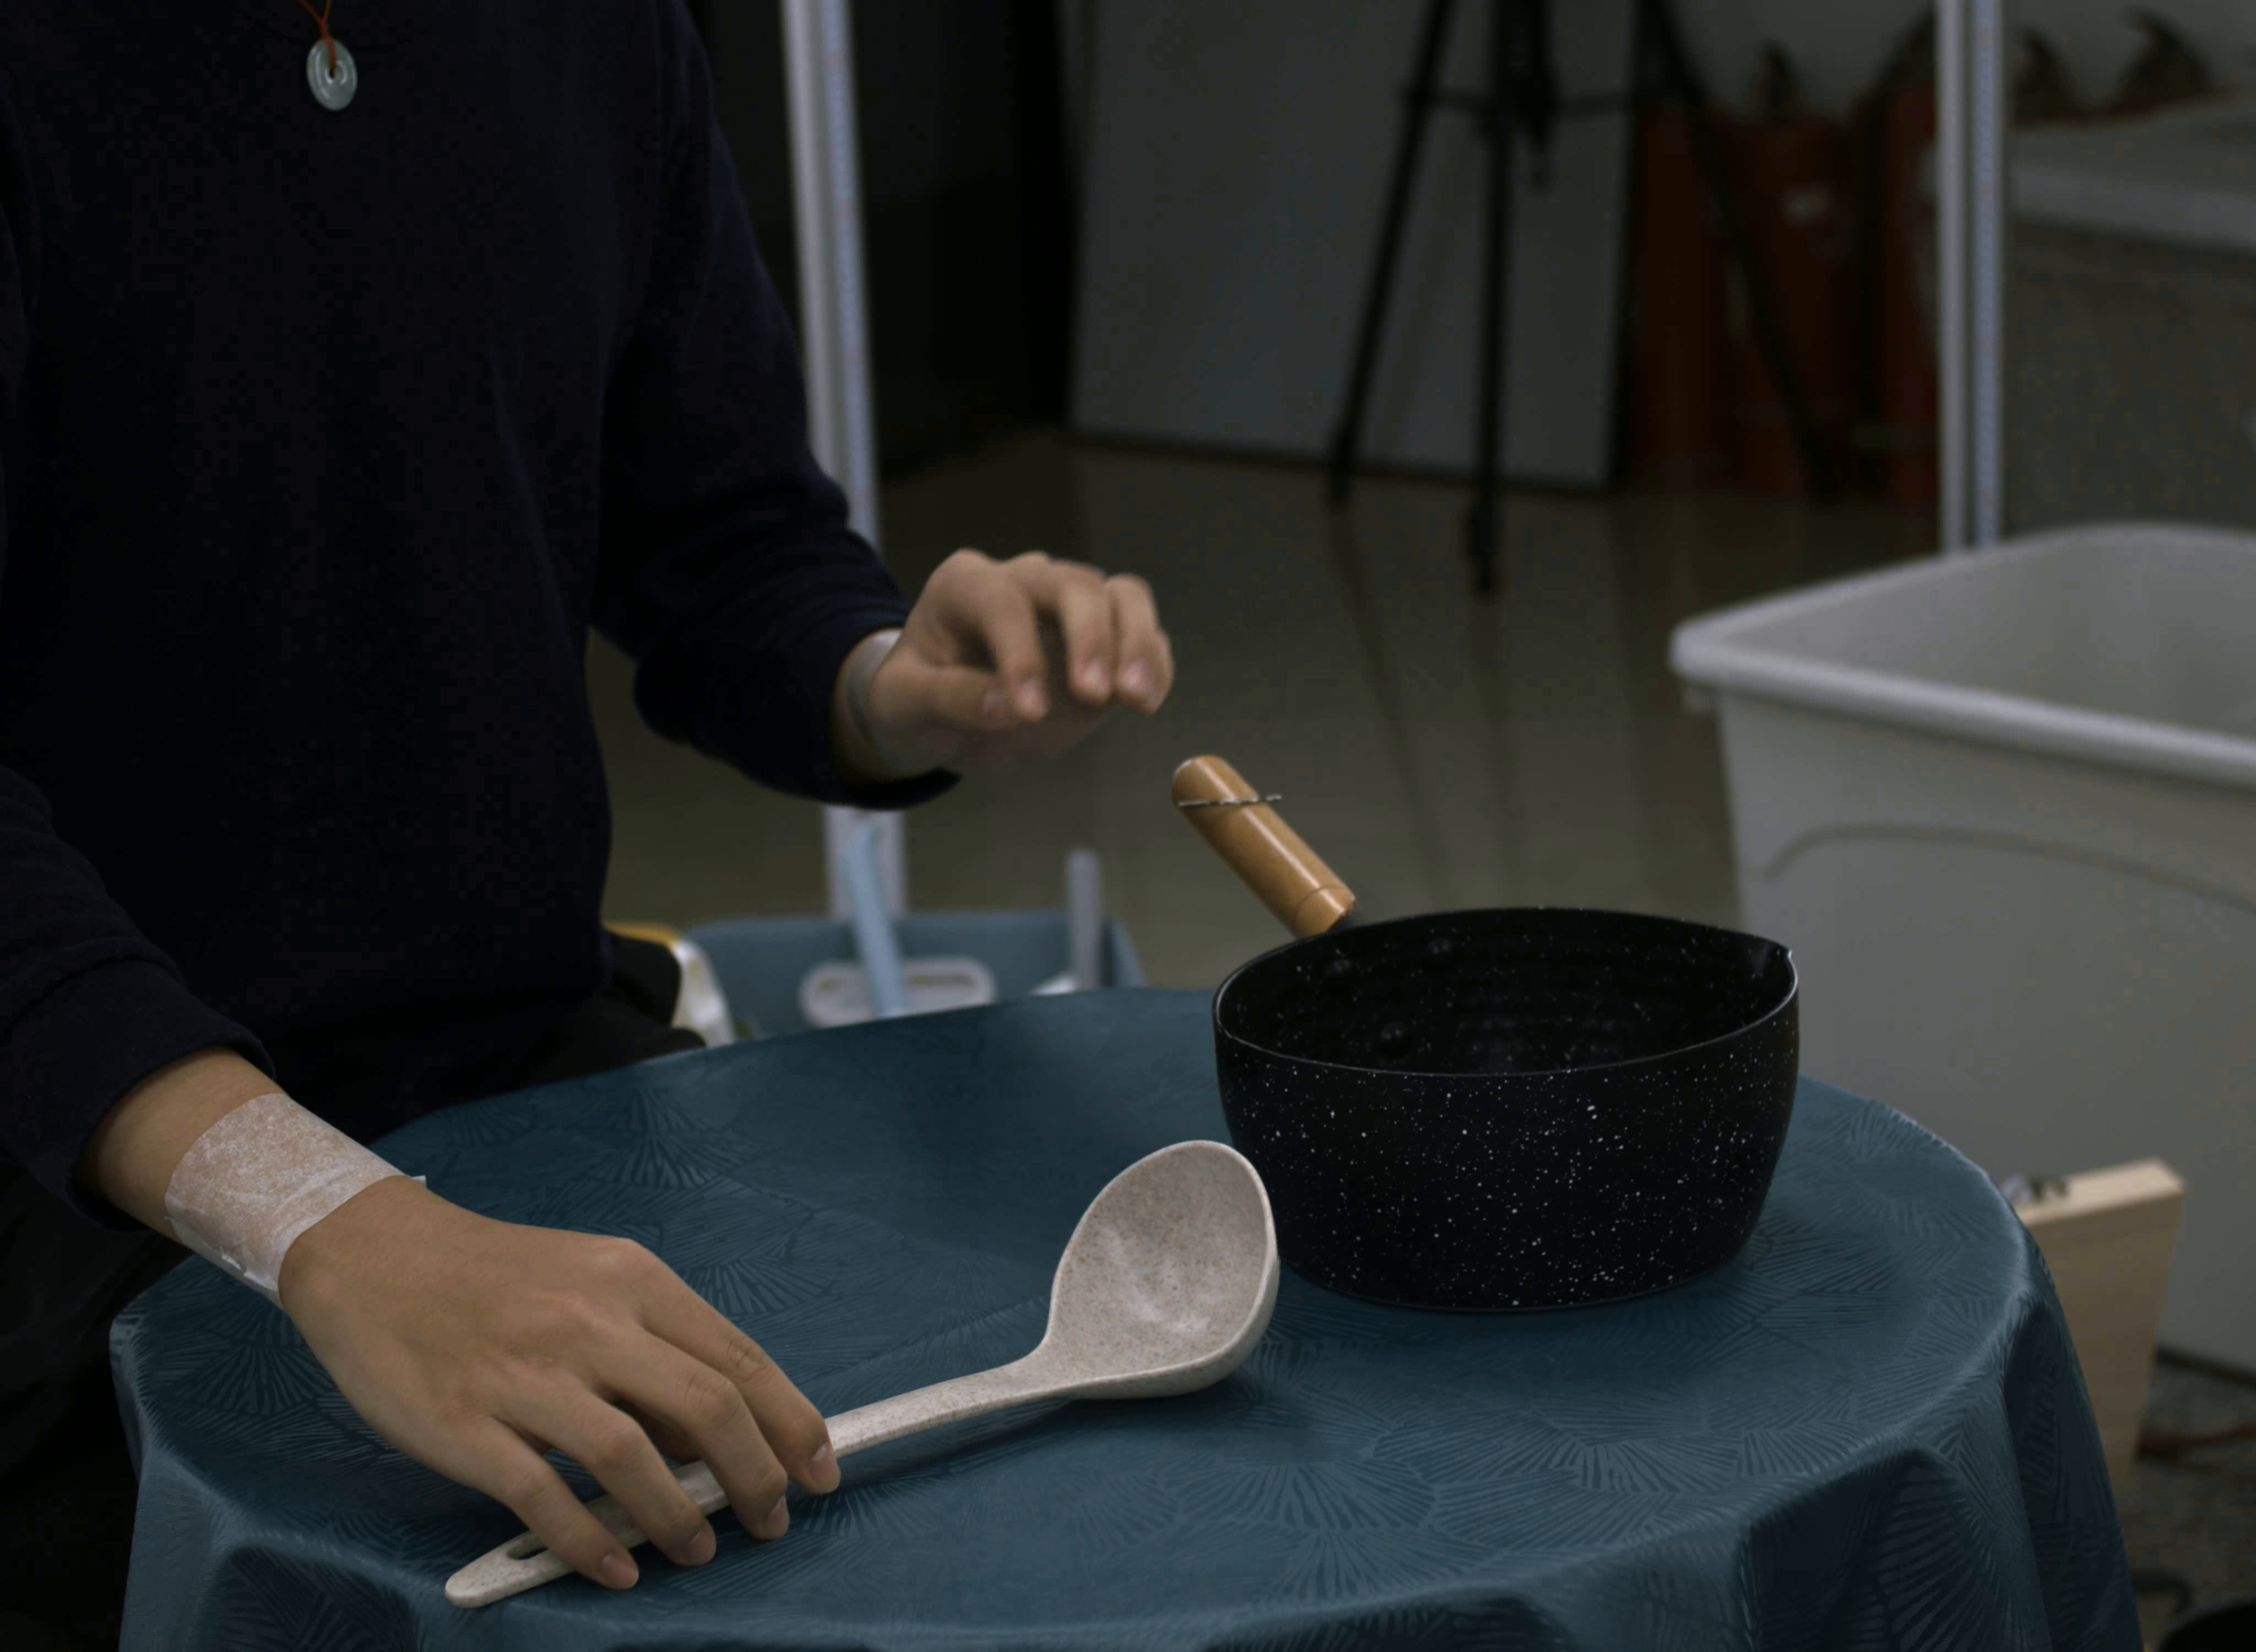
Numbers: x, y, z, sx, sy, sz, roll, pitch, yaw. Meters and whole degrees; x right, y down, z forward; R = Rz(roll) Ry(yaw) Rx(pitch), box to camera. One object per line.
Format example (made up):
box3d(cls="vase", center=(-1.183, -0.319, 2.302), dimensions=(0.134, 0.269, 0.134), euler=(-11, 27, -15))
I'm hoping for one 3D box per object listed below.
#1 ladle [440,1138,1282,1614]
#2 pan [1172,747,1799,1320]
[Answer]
box3d(cls="ladle", center=(-0.074, 0.153, 1.525), dimensions=(0.269, 0.070, 0.090), euler=(-14, 25, -33))
box3d(cls="pan", center=(0.088, 0.062, 1.758), dimensions=(0.203, 0.109, 0.346), euler=(-10, 16, -20))
